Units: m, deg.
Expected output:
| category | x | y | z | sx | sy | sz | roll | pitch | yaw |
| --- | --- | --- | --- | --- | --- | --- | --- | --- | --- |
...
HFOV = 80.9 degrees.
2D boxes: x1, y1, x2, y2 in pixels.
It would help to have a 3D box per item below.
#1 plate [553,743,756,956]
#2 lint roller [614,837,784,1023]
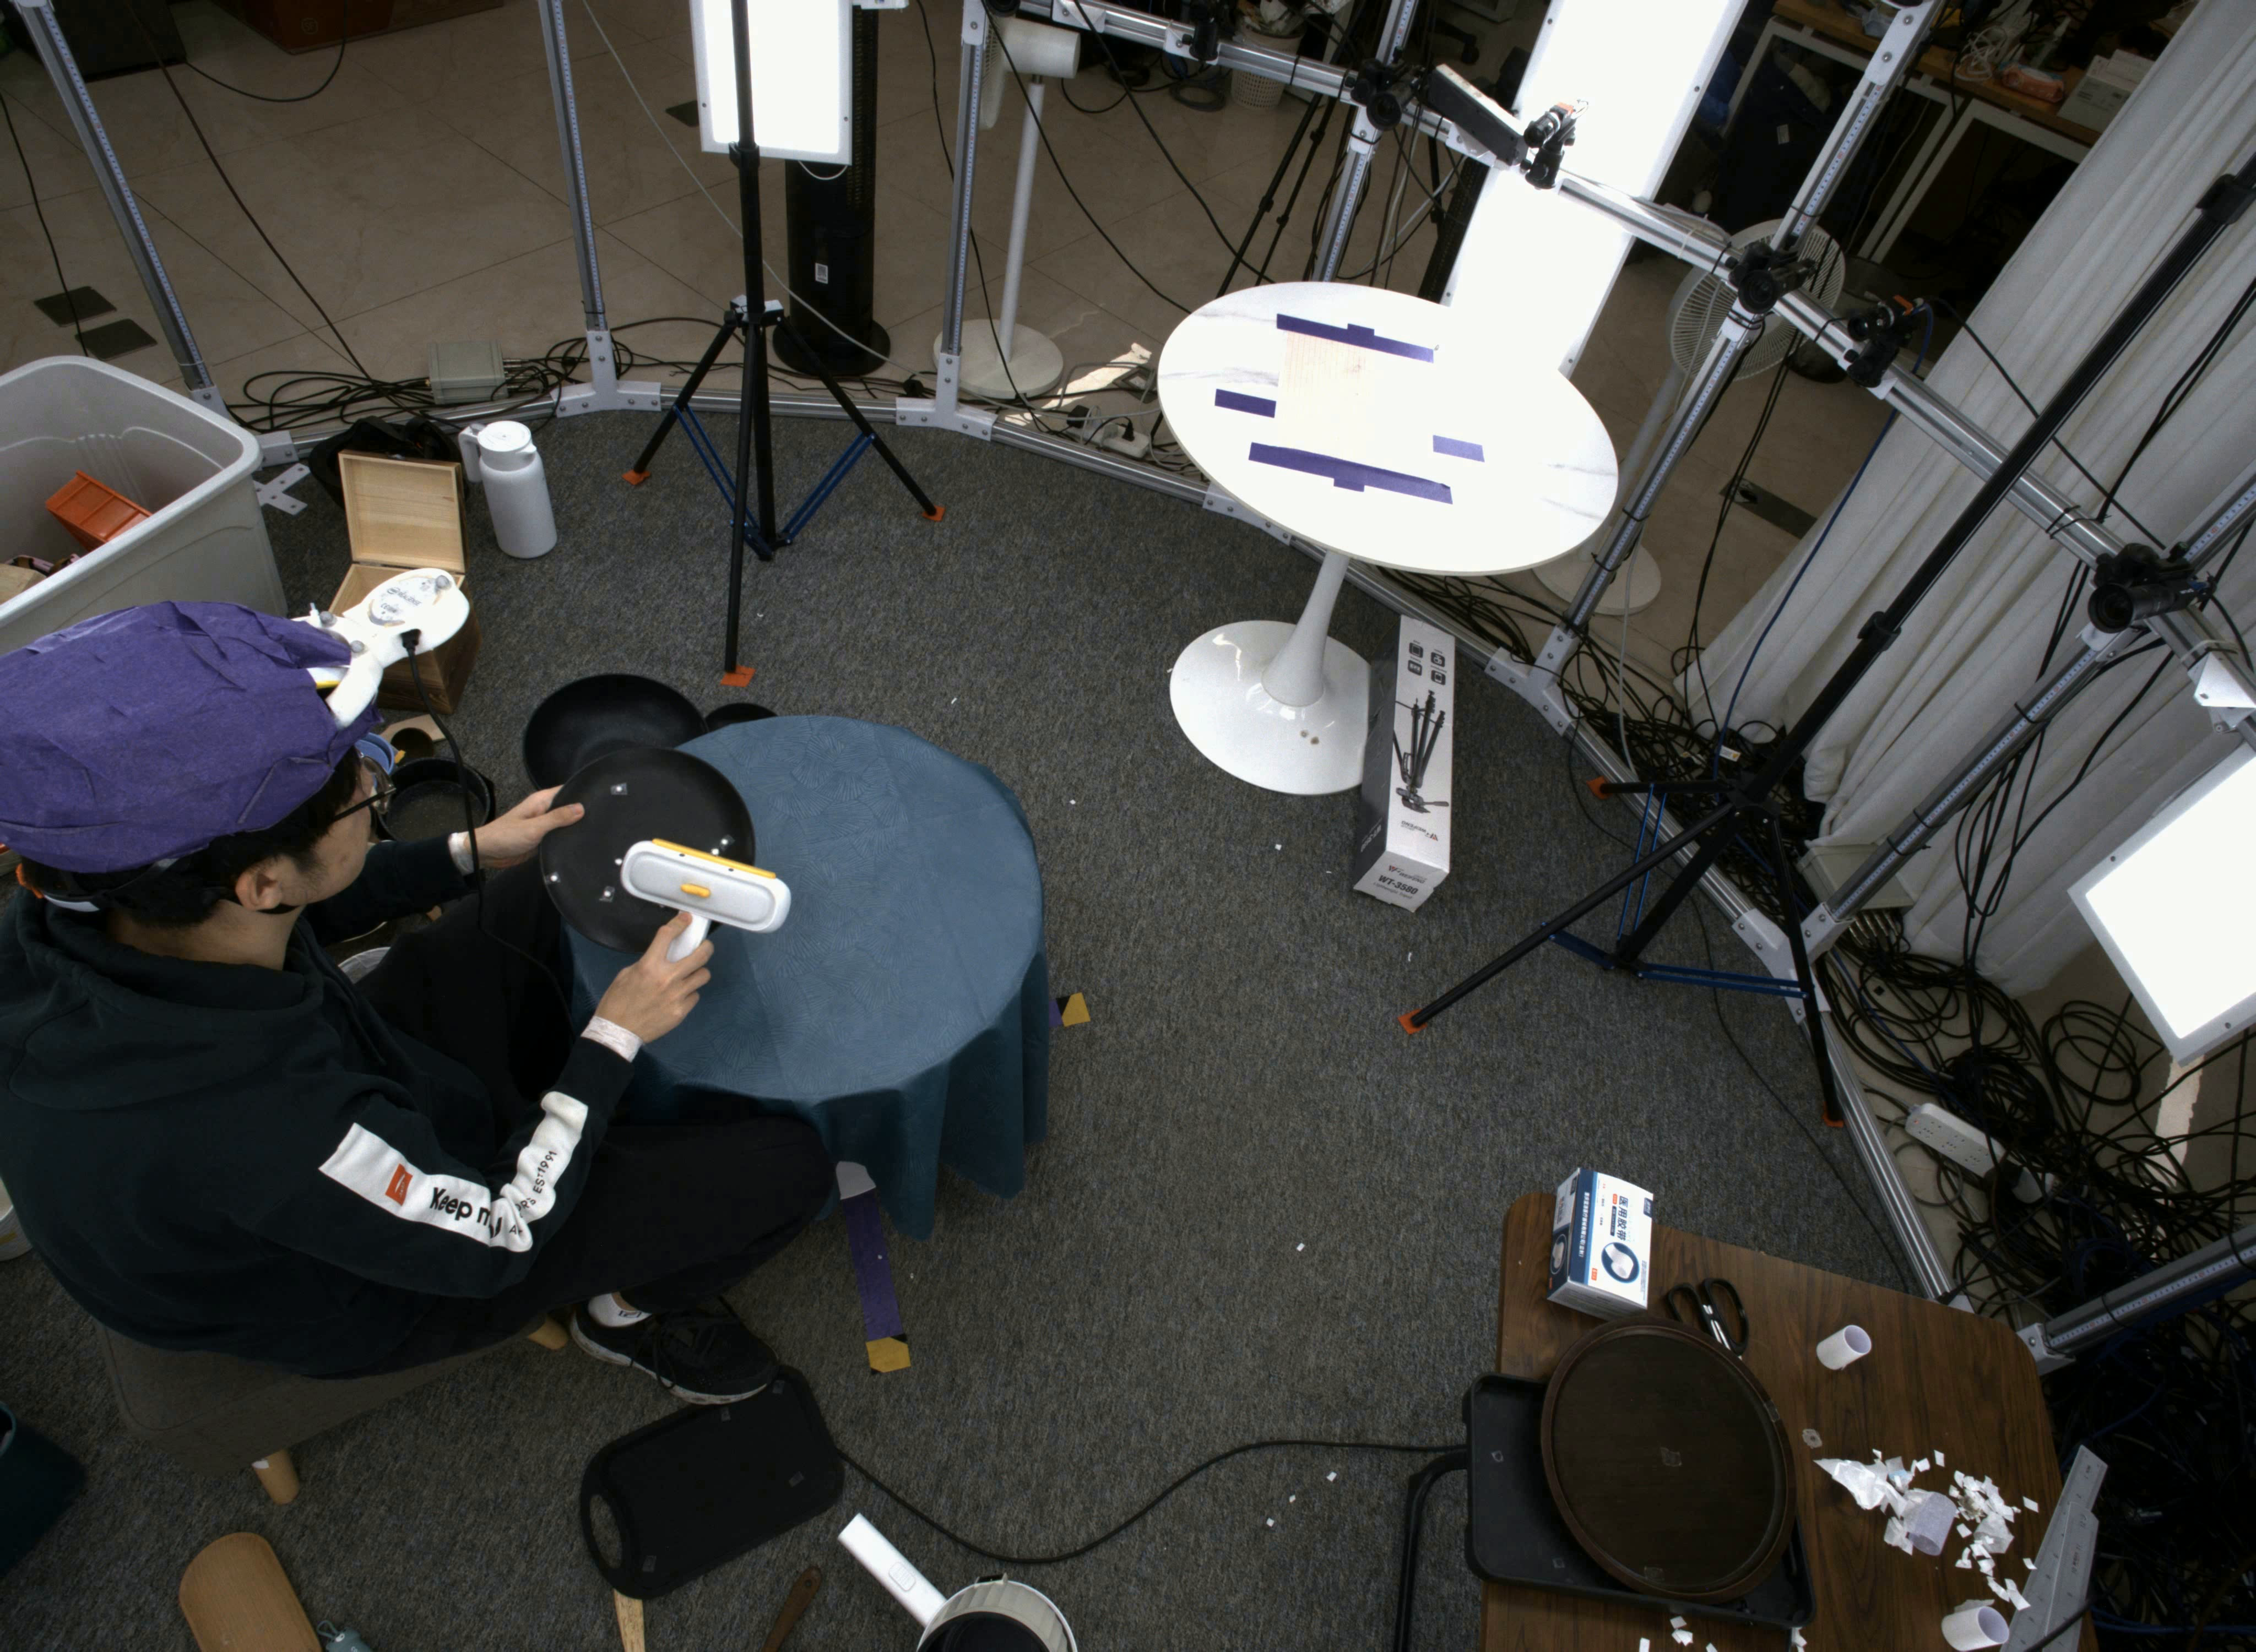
| category | x | y | z | sx | sy | sz | roll | pitch | yaw |
| --- | --- | --- | --- | --- | --- | --- | --- | --- | --- |
| plate | -0.556 | 0.026 | 1.496 | 0.245 | 0.023 | 0.246 | 2 | 85 | -15 |
| lint roller | -0.498 | 0.120 | 1.451 | 0.193 | 0.073 | 0.194 | 13 | 87 | -12 |
